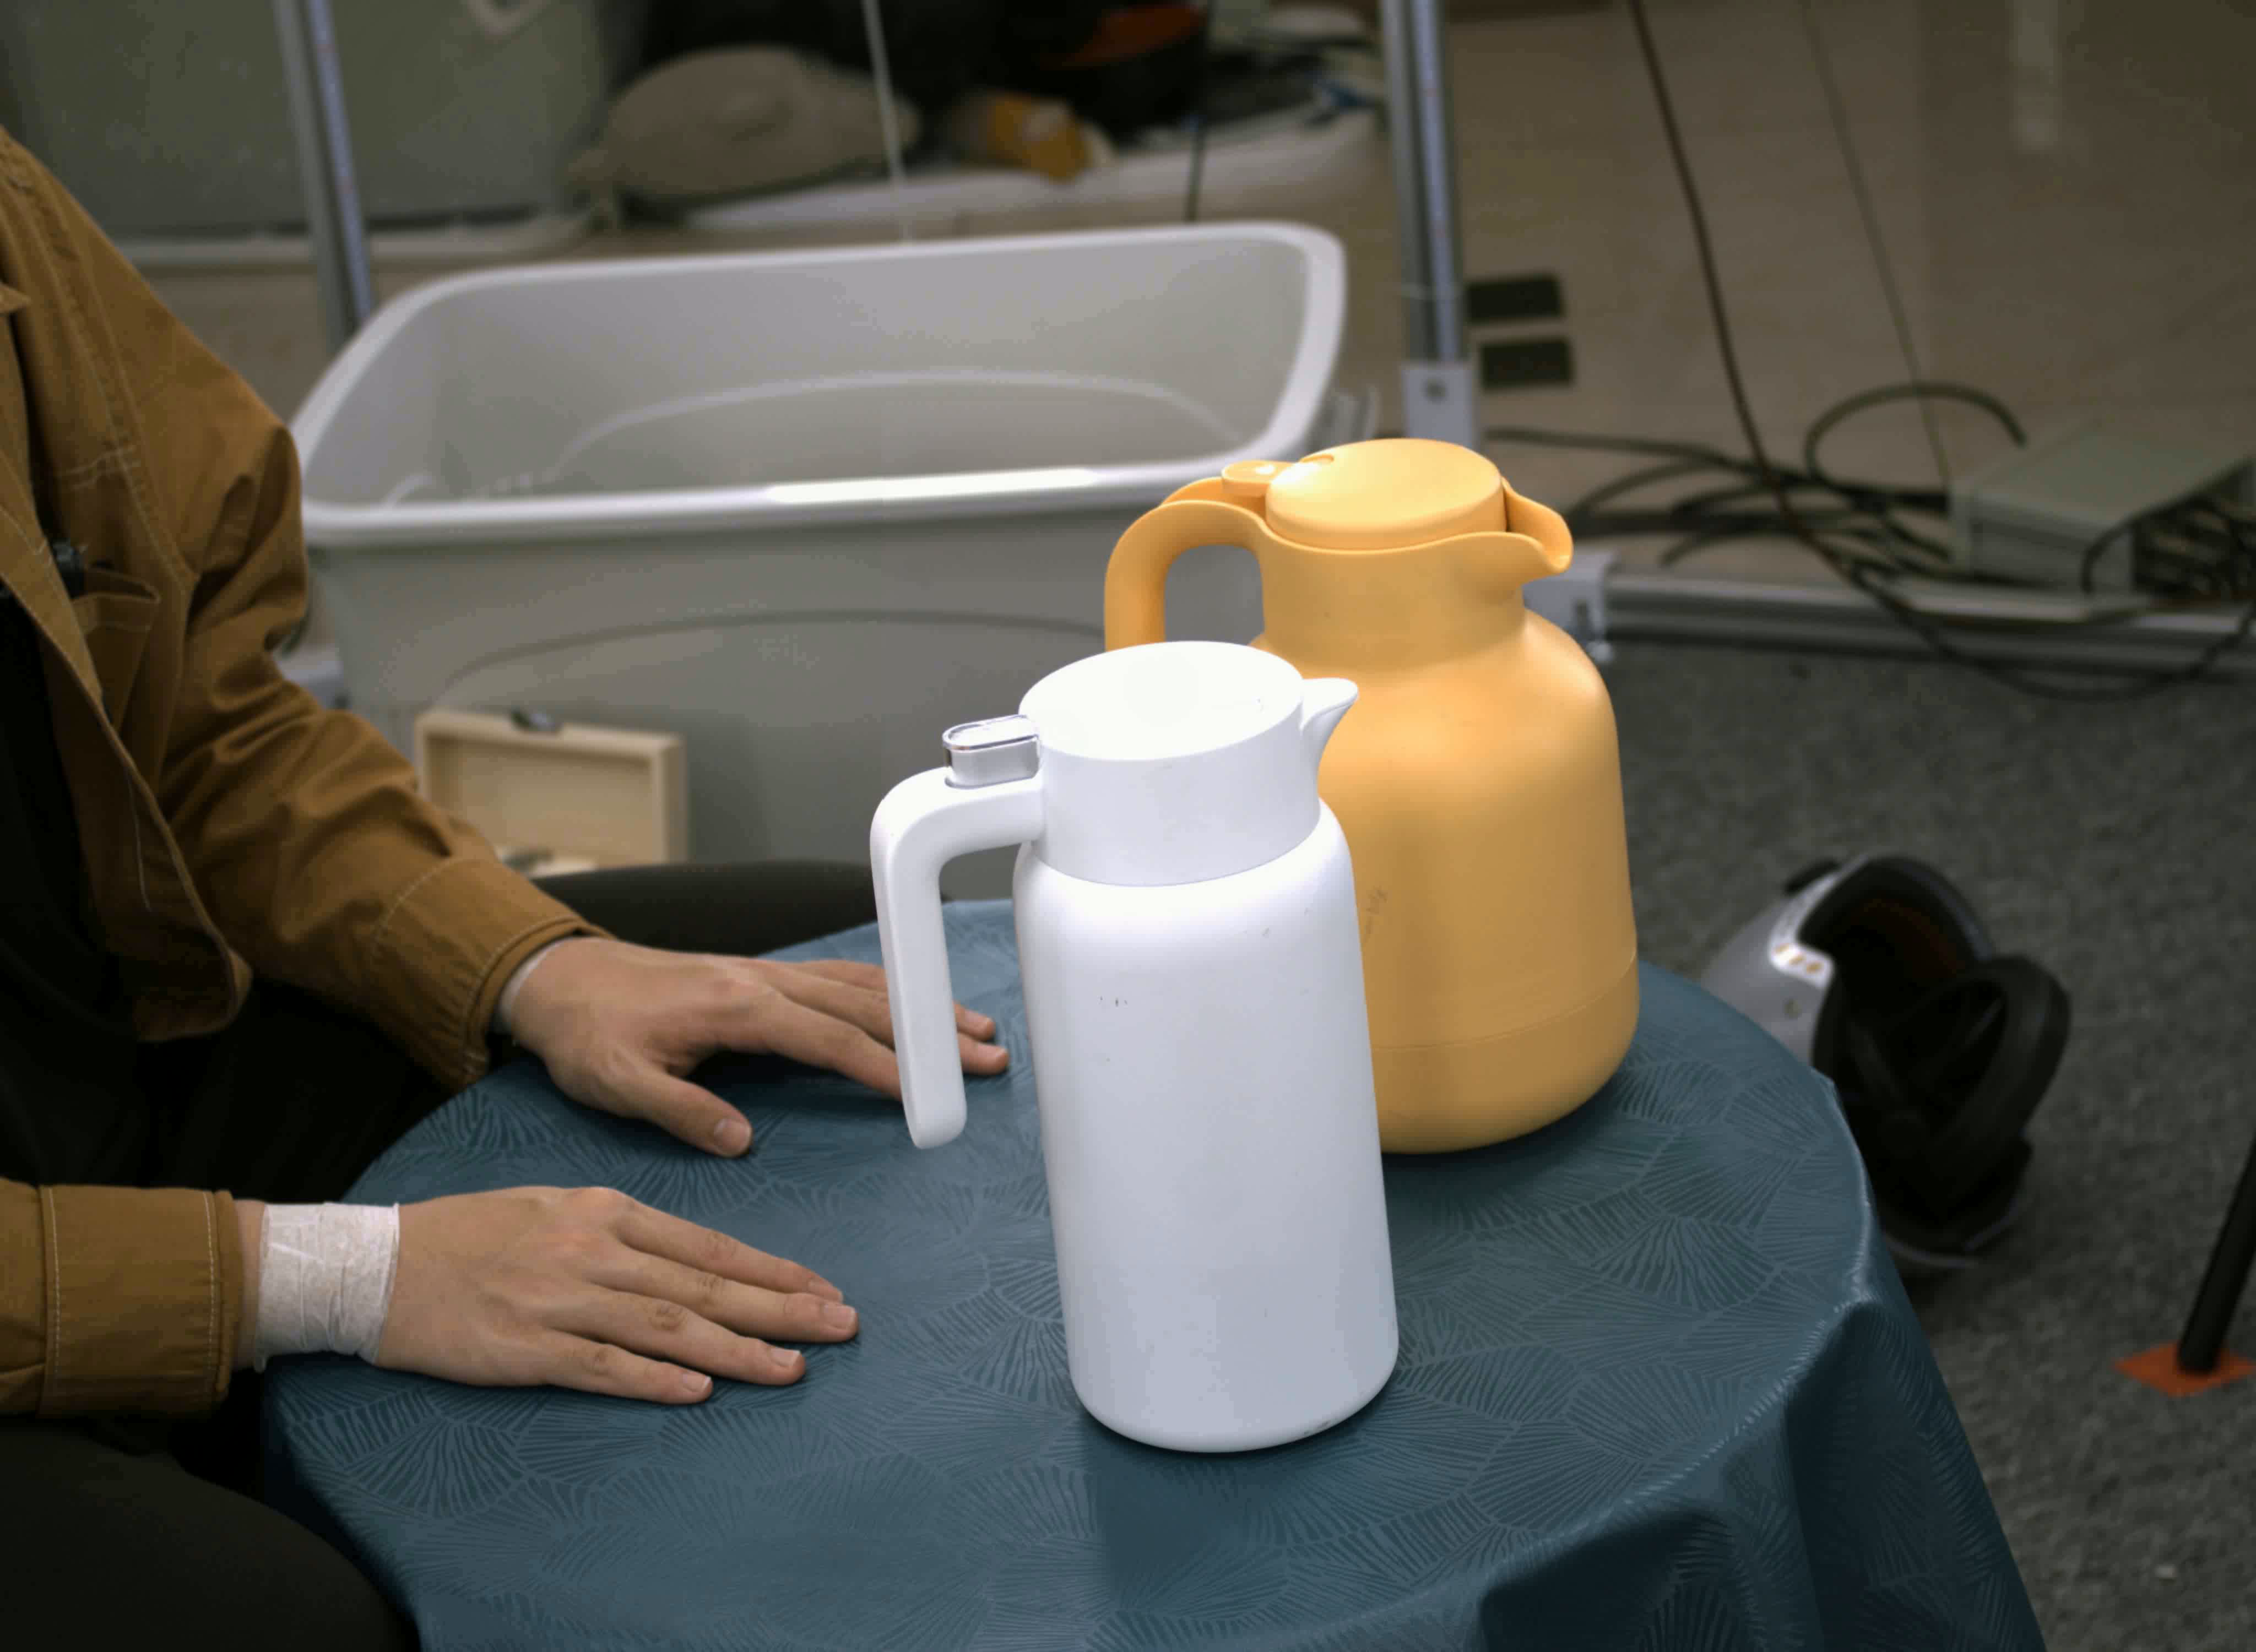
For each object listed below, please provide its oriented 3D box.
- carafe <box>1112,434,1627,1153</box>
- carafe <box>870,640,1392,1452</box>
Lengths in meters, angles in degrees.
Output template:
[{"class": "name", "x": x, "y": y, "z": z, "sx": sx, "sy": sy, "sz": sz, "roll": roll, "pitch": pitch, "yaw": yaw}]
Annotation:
[{"class": "carafe", "x": 0.089, "y": -0.020, "z": 2.152, "sx": 0.201, "sy": 0.264, "sz": 0.162, "roll": 12, "pitch": 28, "yaw": 30}, {"class": "carafe", "x": 0.007, "y": 0.080, "z": 1.954, "sx": 0.172, "sy": 0.273, "sz": 0.122, "roll": -11, "pitch": 28, "yaw": -10}]
